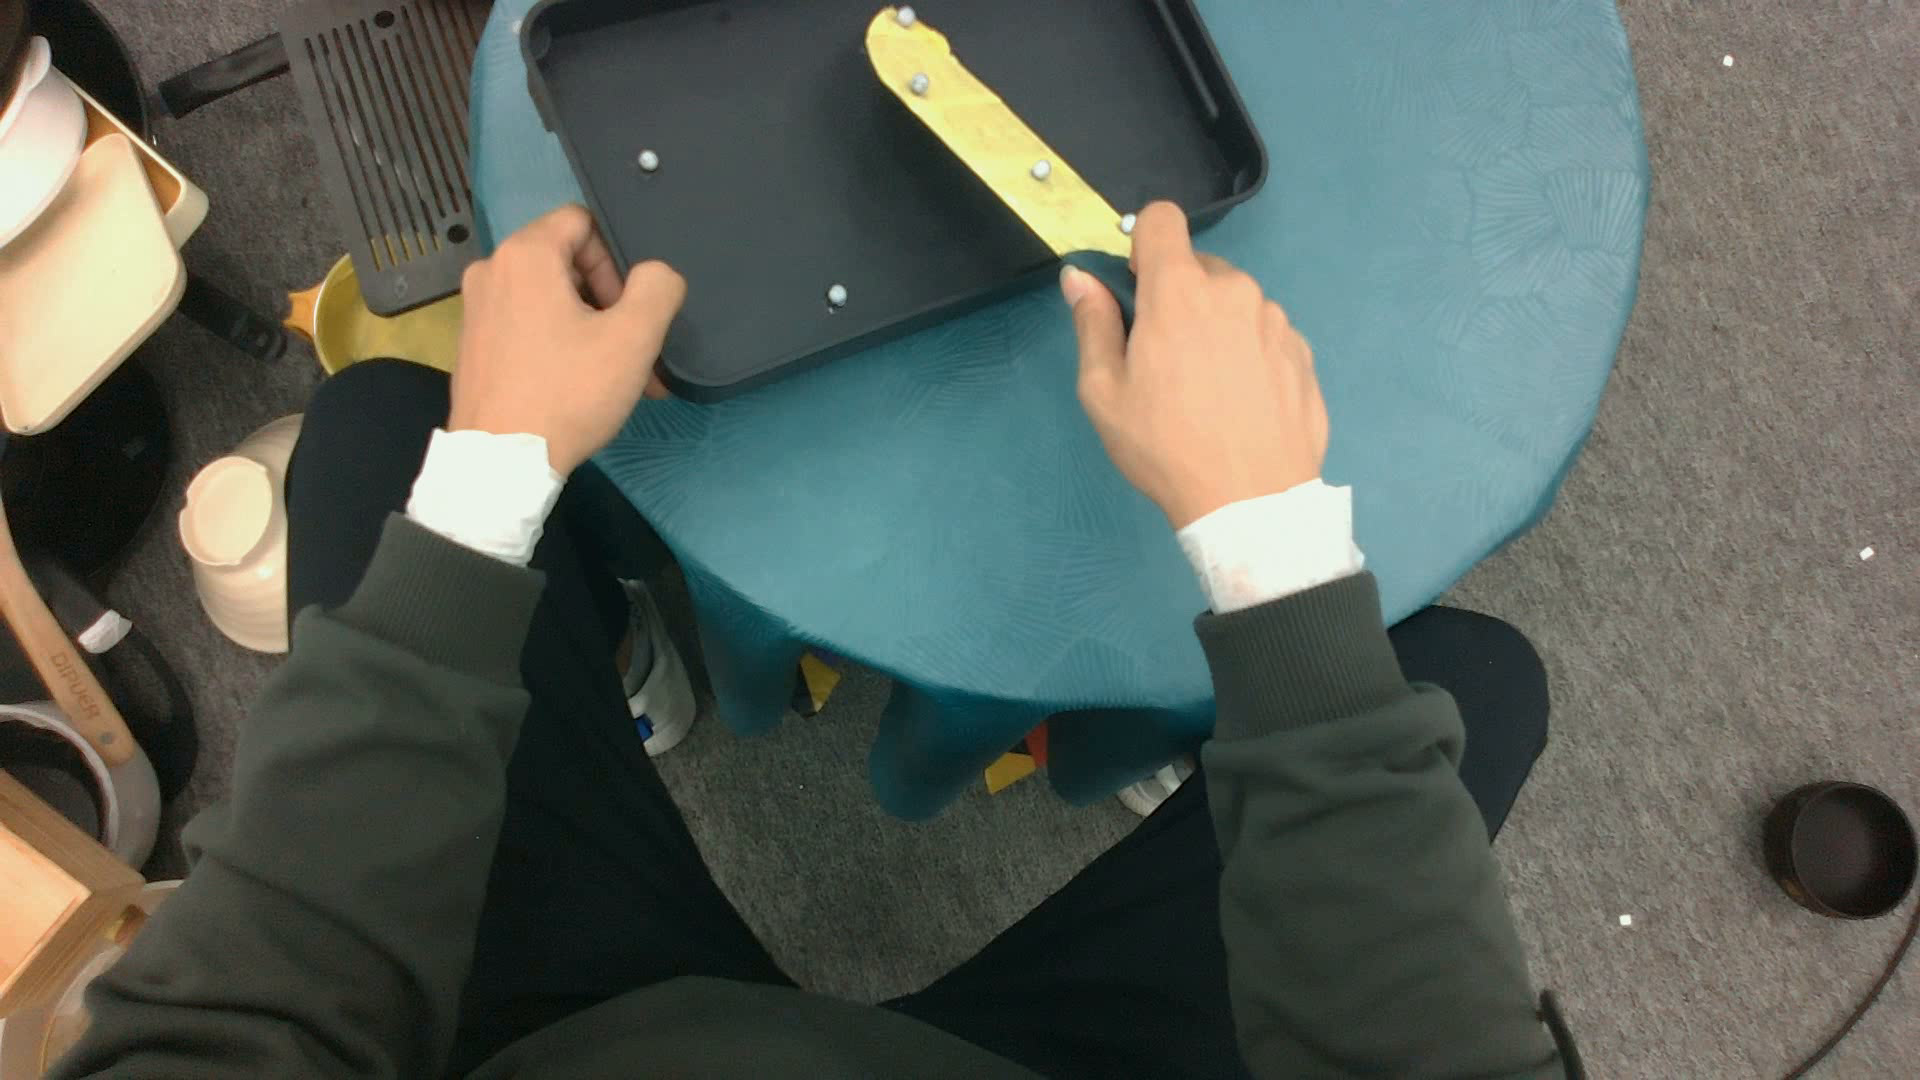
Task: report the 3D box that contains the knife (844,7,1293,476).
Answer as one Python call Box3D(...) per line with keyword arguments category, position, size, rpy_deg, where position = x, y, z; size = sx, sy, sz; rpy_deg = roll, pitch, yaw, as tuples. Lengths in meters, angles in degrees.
Box3D(category="knife", position=(0.045, -0.140, 0.607), size=(0.289, 0.027, 0.081), rpy_deg=(49, 39, 12))

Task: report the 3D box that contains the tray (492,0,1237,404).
Box3D(category="tray", position=(-0.034, -0.196, 0.642), size=(0.319, 0.037, 0.184), rpy_deg=(-25, 86, -22))
